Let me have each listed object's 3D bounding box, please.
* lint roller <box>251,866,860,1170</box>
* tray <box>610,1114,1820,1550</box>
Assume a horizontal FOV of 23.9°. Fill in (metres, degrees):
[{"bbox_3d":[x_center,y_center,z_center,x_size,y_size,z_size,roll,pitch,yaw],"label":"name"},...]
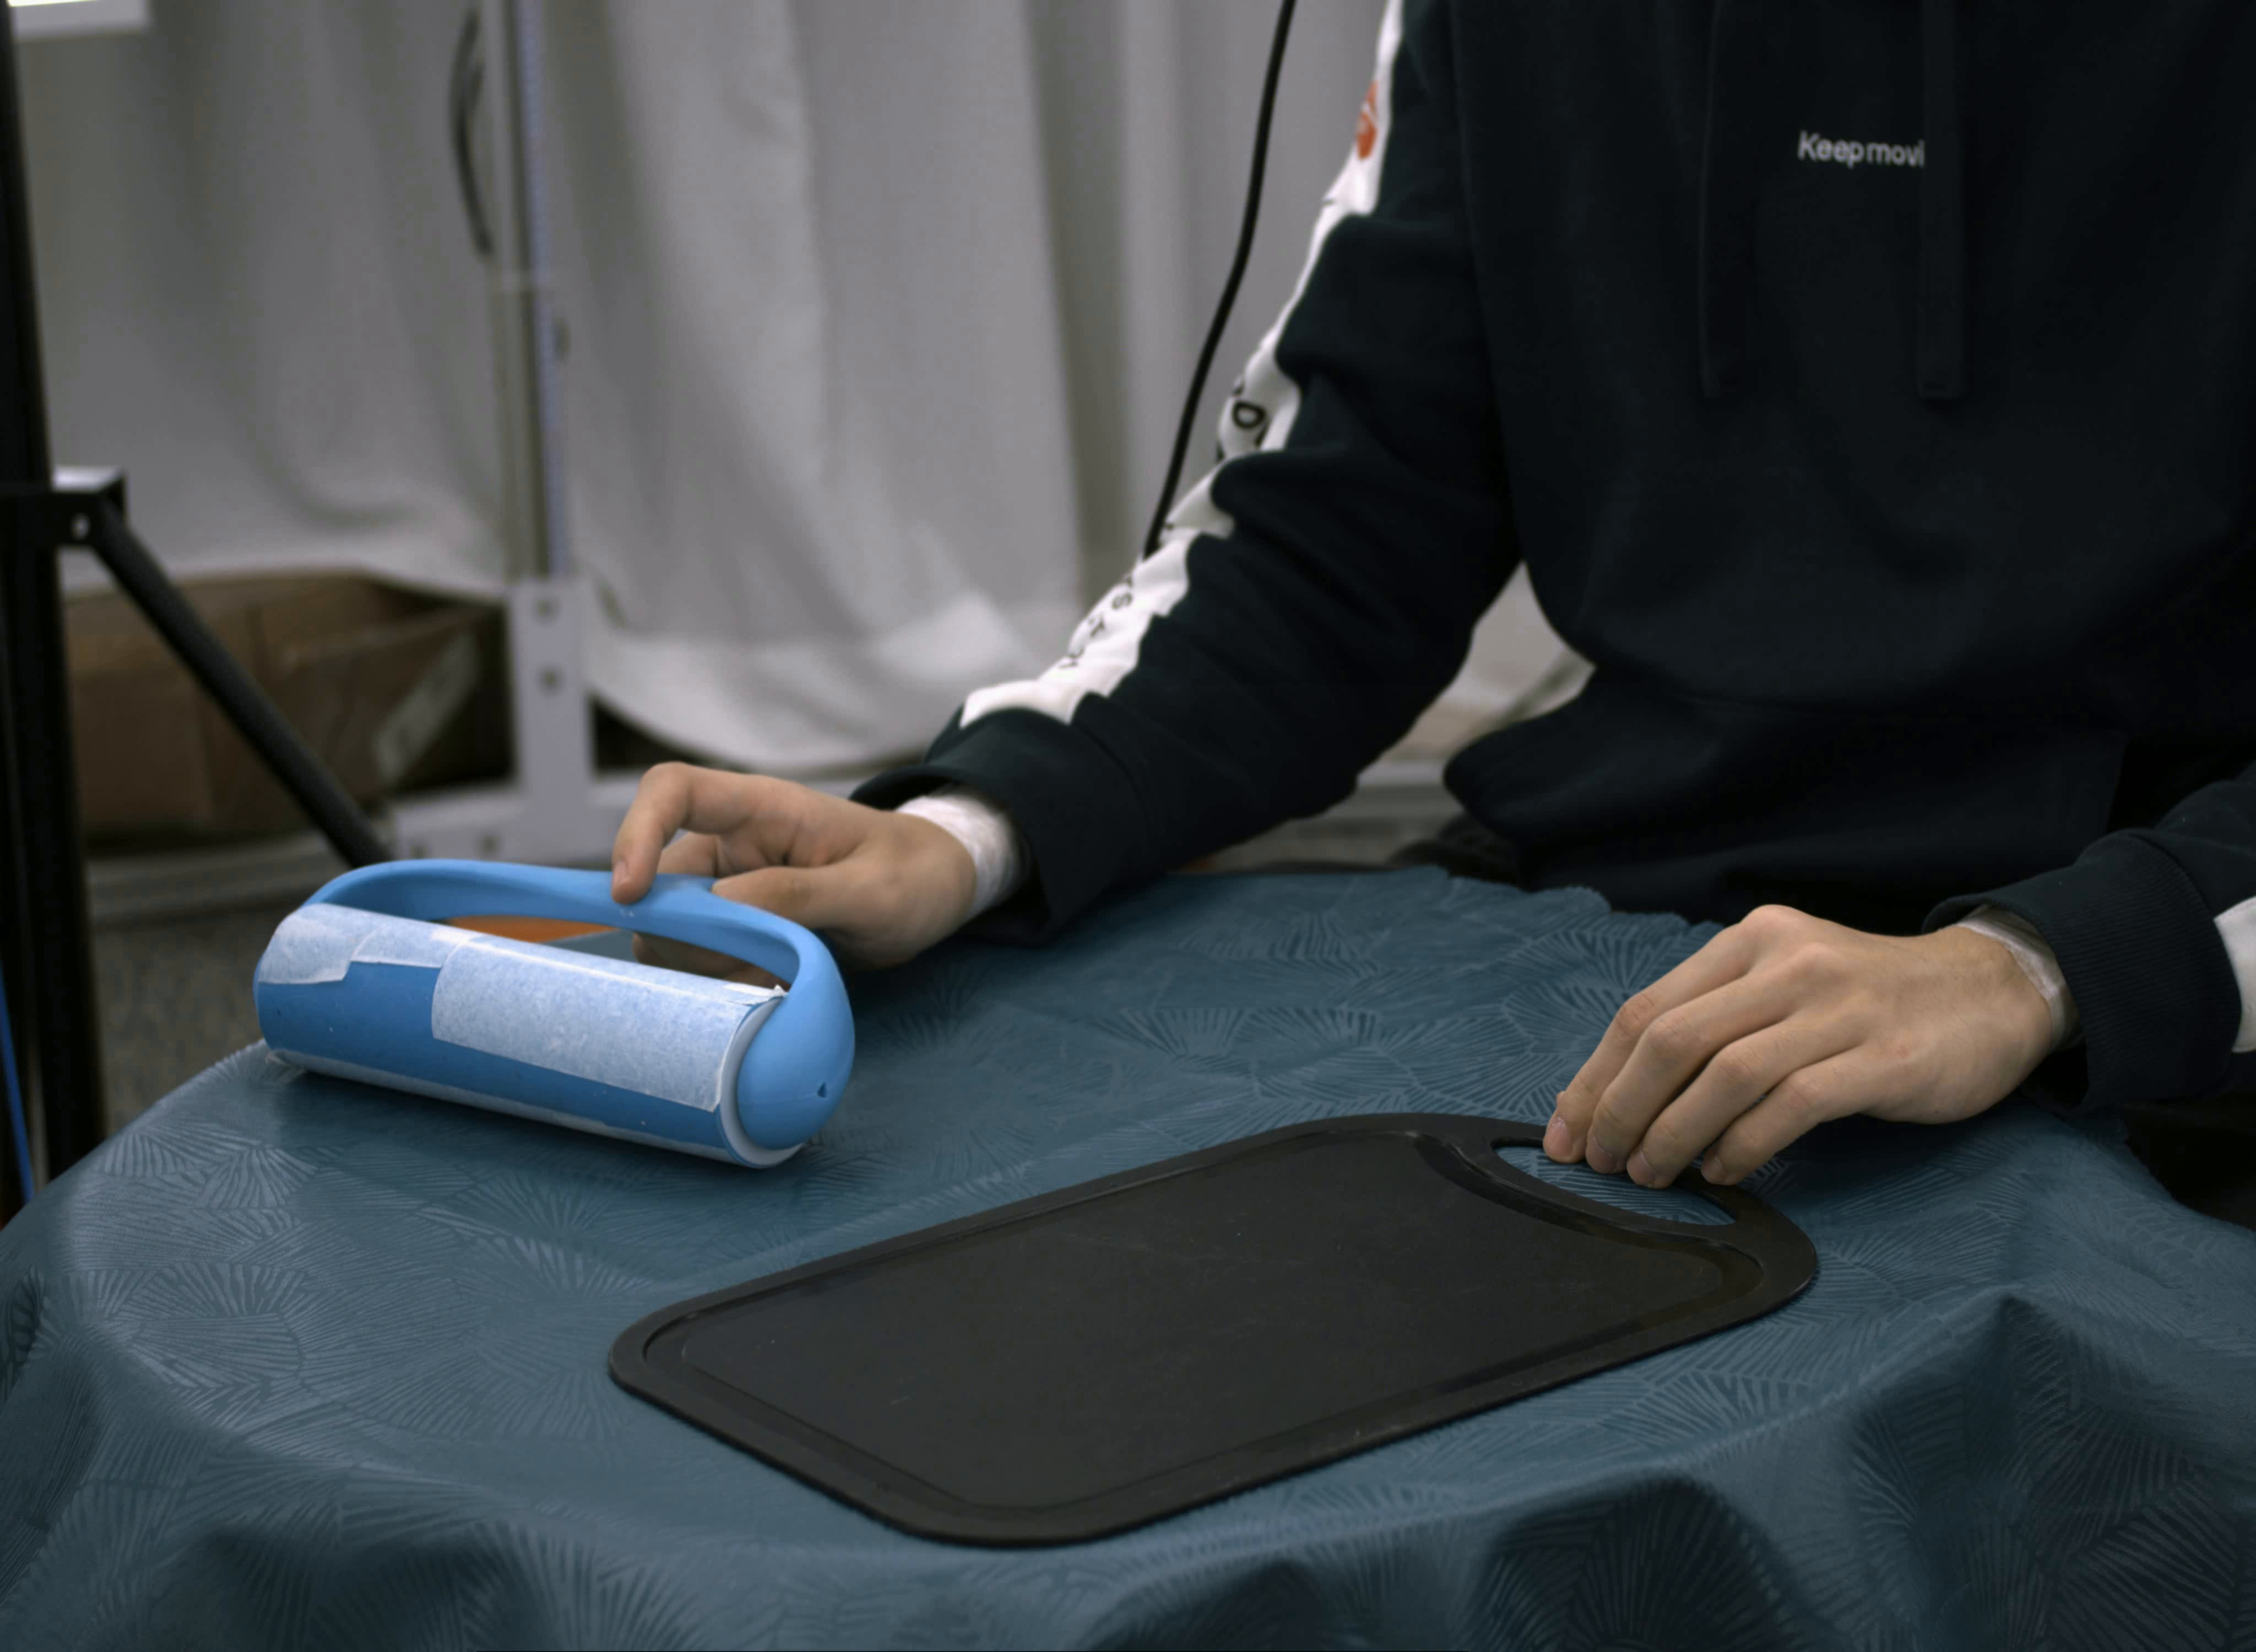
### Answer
[{"bbox_3d":[-0.149,0.048,1.692,0.233,0.068,0.177,6,19,35],"label":"lint roller"},{"bbox_3d":[0.032,0.130,1.462,0.318,0.010,0.216,-14,19,-33],"label":"tray"}]
